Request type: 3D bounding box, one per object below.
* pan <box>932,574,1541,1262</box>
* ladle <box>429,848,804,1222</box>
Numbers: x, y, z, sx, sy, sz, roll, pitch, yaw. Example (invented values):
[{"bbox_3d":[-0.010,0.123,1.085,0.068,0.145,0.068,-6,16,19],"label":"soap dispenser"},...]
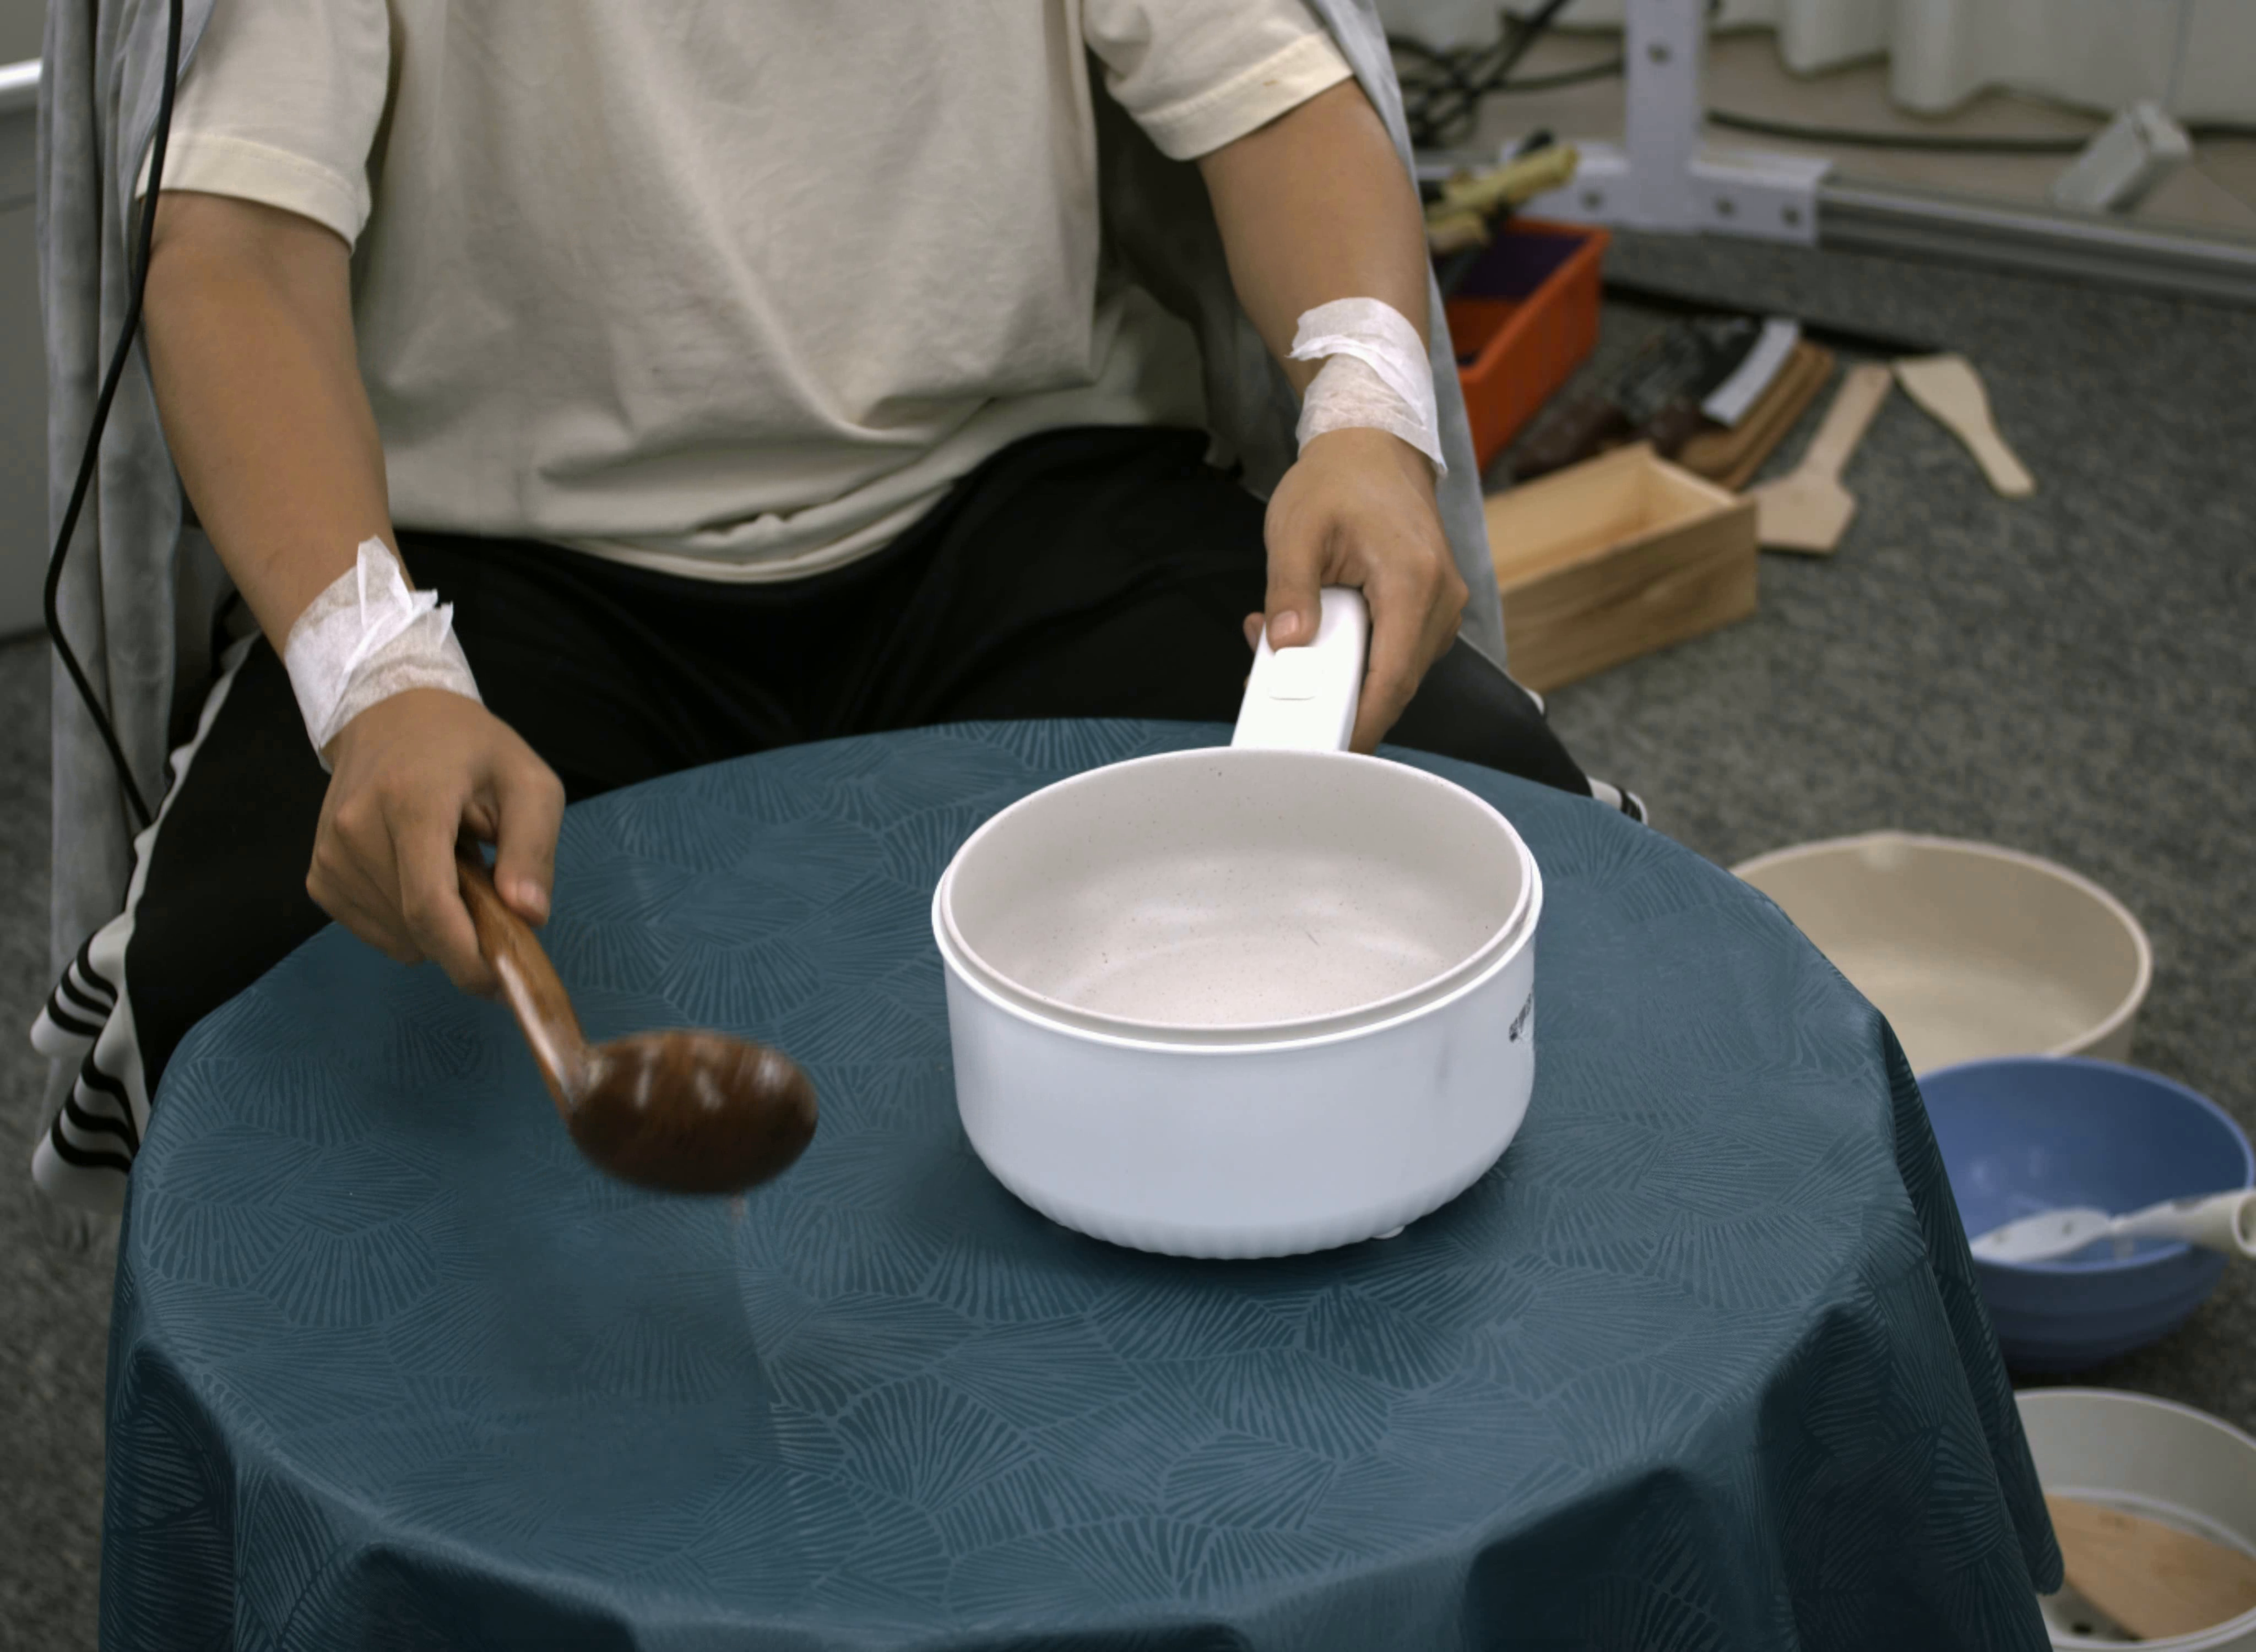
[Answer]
[{"bbox_3d":[0.050,0.029,1.933,0.200,0.101,0.360,0,26,10],"label":"pan"},{"bbox_3d":[-0.175,0.049,1.831,0.081,0.076,0.277,35,11,-30],"label":"ladle"}]
